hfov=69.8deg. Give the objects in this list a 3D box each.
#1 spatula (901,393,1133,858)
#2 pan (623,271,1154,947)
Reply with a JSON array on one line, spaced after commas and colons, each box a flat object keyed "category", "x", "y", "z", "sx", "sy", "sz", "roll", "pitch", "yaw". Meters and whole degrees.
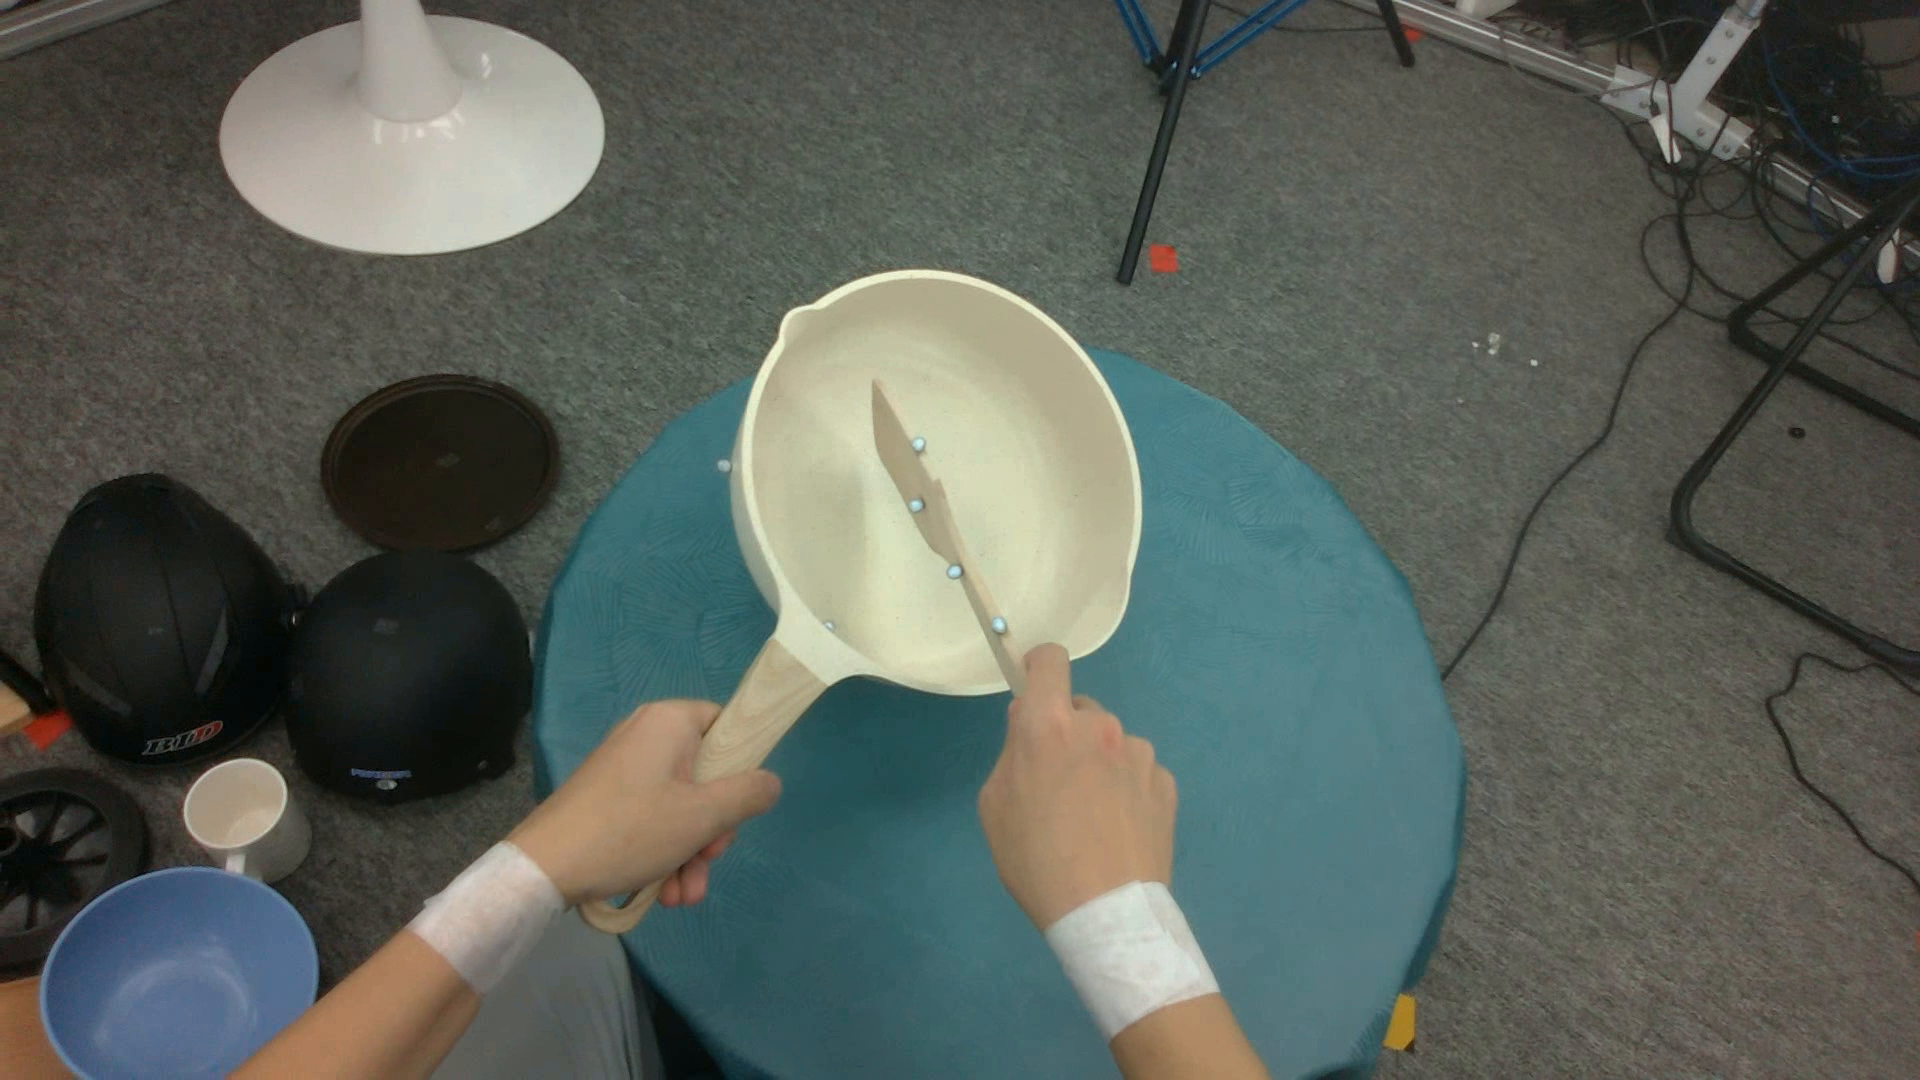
[{"category": "spatula", "x": 0.025, "y": 0.040, "z": 0.738, "sx": 0.010, "sy": 0.072, "sz": 0.294, "roll": -19, "pitch": 56, "yaw": -13}, {"category": "pan", "x": -0.057, "y": 0.037, "z": 0.786, "sx": 0.263, "sy": 0.101, "sz": 0.436, "roll": 42, "pitch": 65, "yaw": -12}]
